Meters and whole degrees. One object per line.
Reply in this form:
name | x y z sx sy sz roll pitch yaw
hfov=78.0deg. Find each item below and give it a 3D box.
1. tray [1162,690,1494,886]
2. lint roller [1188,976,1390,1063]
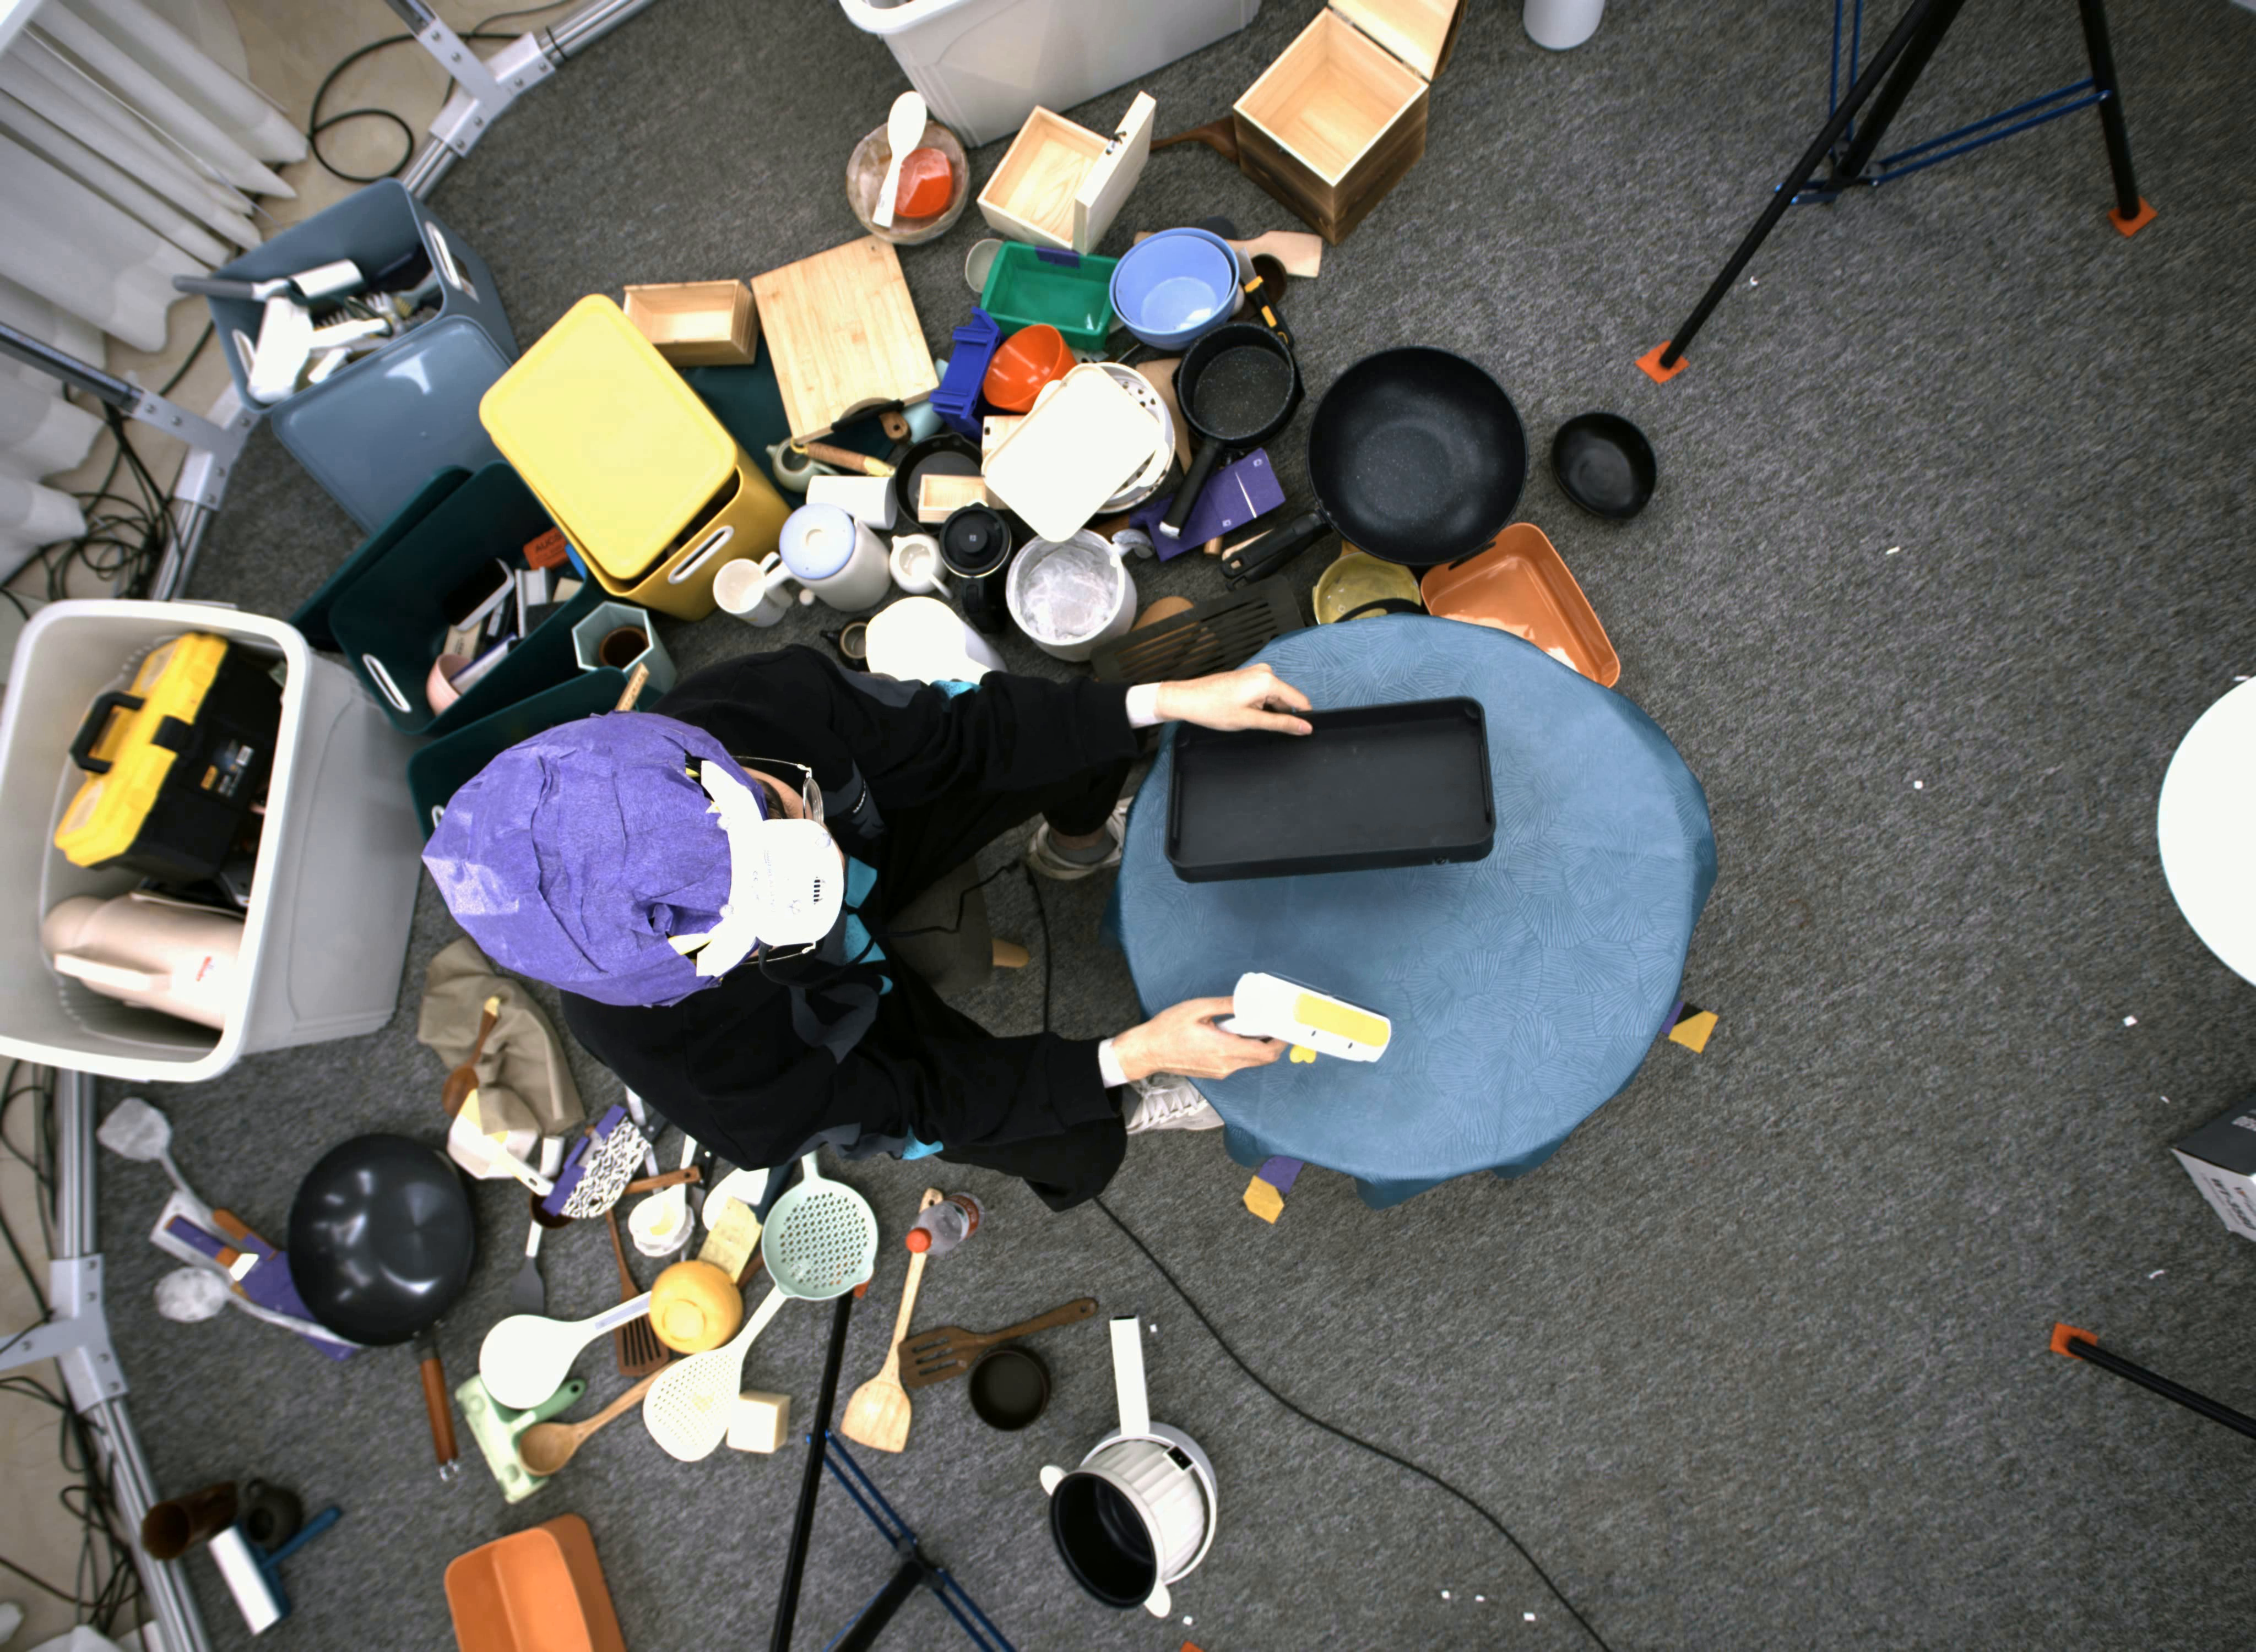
tray | 0.193 -0.039 1.366 0.320 0.038 0.179 -7 56 13
lint roller | 0.135 0.193 1.361 0.194 0.193 0.073 -6 74 49
